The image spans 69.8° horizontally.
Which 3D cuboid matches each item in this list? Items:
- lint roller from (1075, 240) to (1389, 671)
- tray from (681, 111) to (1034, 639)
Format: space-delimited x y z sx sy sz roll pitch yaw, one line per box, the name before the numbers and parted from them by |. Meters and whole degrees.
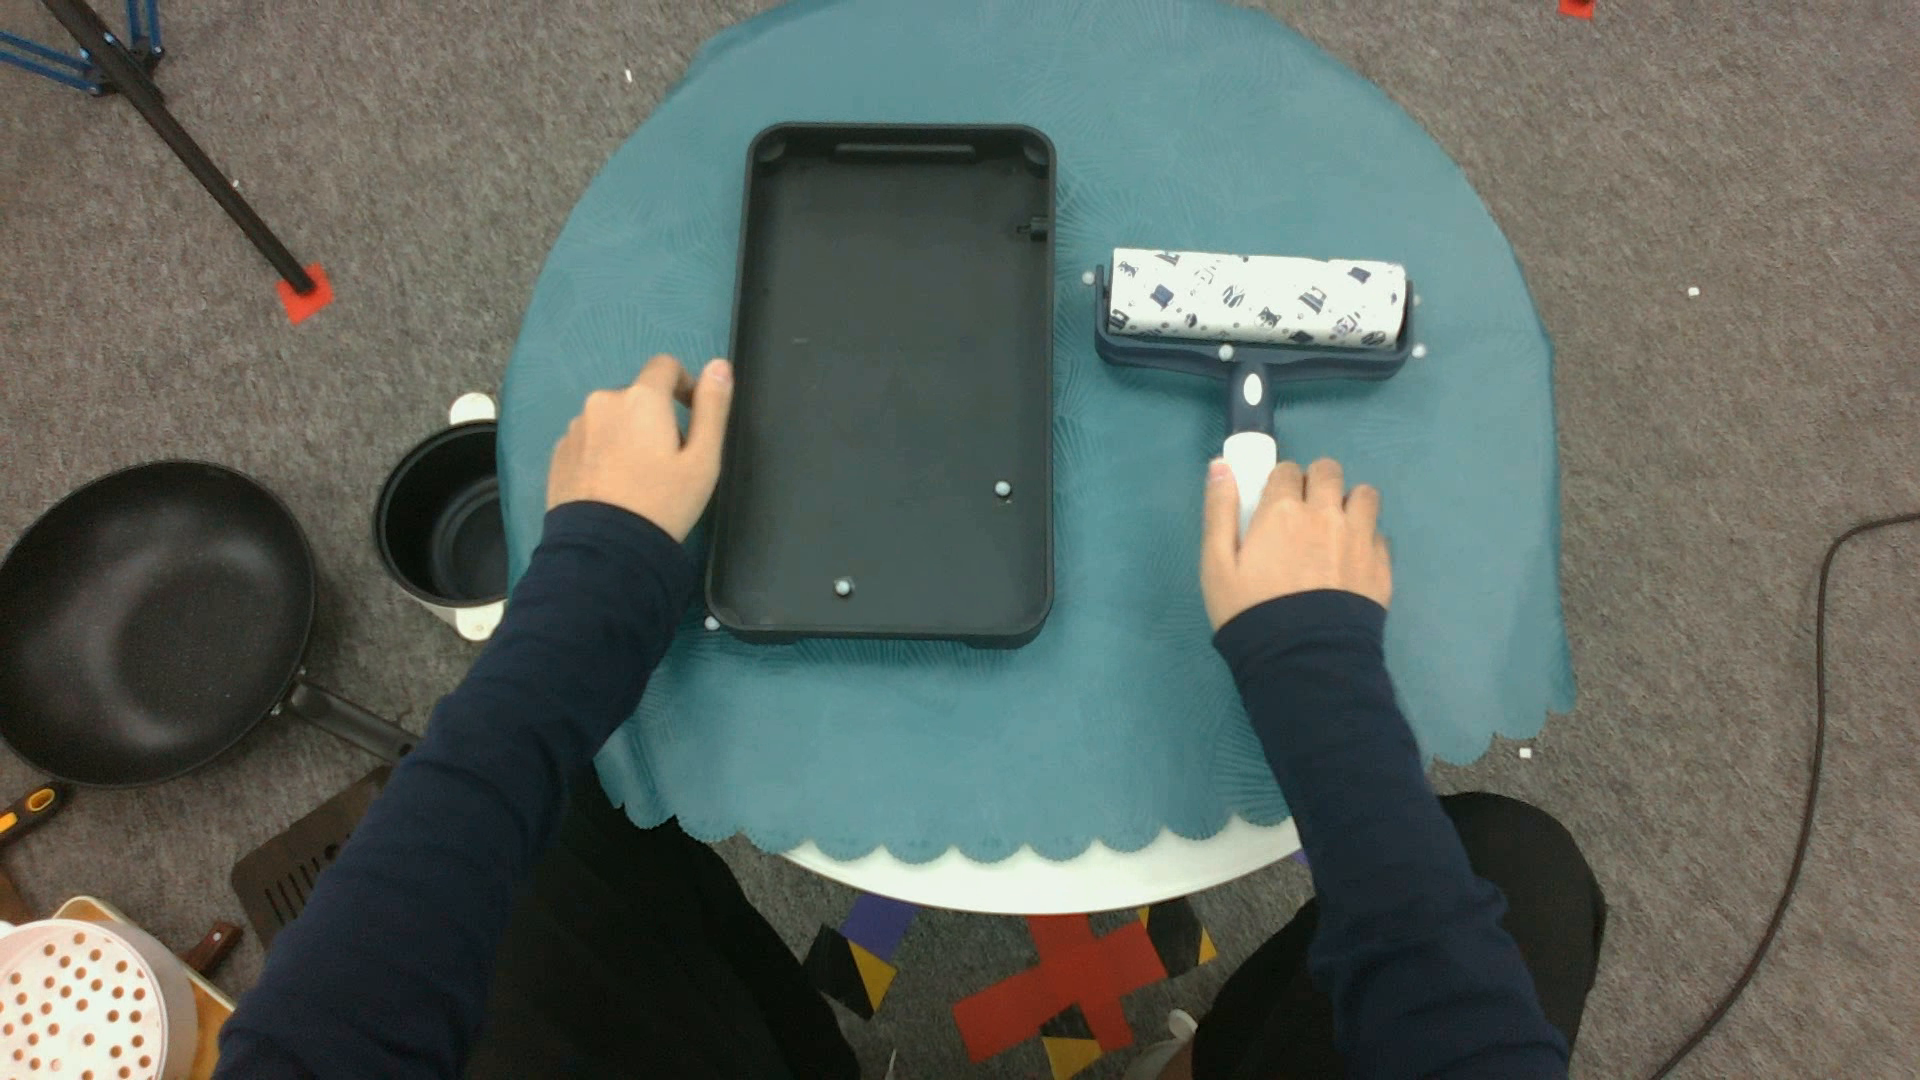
lint roller | 0.149 -0.052 0.741 0.176 0.050 0.248 3 65 0
tray | -0.051 -0.100 0.775 0.184 0.037 0.319 1 69 1
